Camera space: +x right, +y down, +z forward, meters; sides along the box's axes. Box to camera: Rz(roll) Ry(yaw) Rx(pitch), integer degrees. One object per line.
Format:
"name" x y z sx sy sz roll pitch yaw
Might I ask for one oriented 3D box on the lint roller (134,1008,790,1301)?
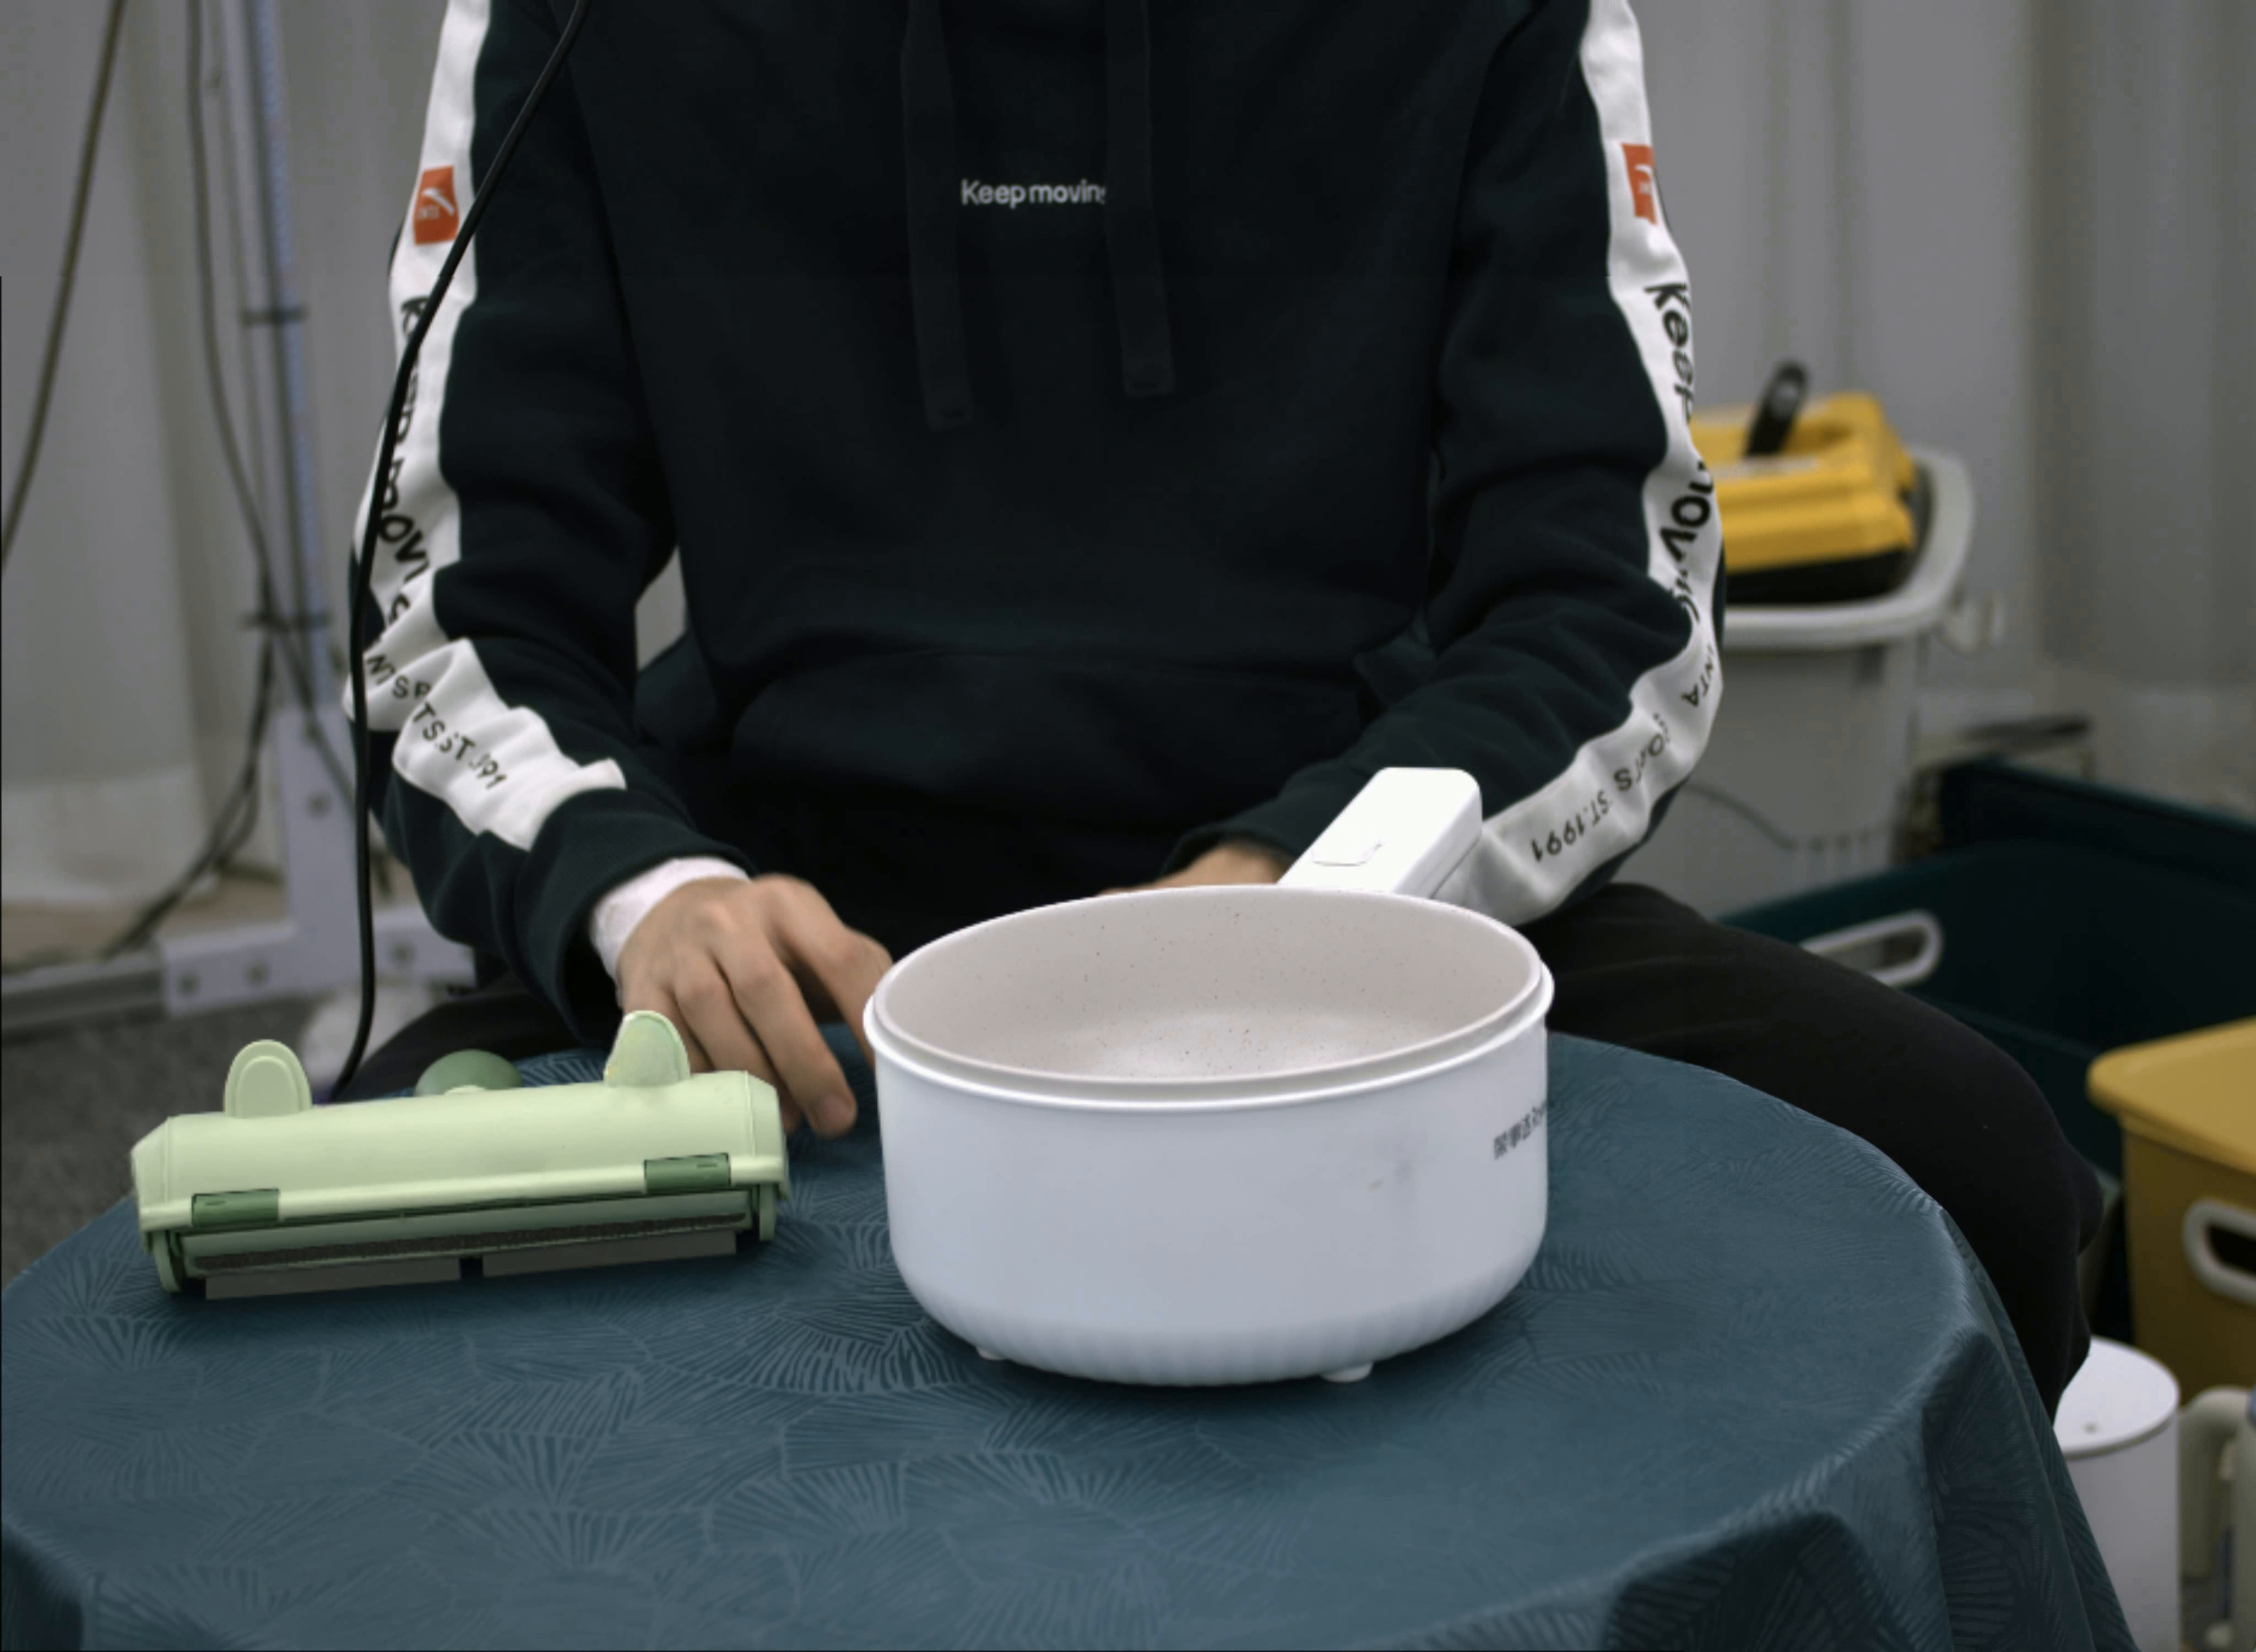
"lint roller" -0.209 0.084 1.725 0.198 0.081 0.185 -5 20 -5

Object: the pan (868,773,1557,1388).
"pan" 0.051 0.073 1.669 0.201 0.102 0.356 1 15 19
